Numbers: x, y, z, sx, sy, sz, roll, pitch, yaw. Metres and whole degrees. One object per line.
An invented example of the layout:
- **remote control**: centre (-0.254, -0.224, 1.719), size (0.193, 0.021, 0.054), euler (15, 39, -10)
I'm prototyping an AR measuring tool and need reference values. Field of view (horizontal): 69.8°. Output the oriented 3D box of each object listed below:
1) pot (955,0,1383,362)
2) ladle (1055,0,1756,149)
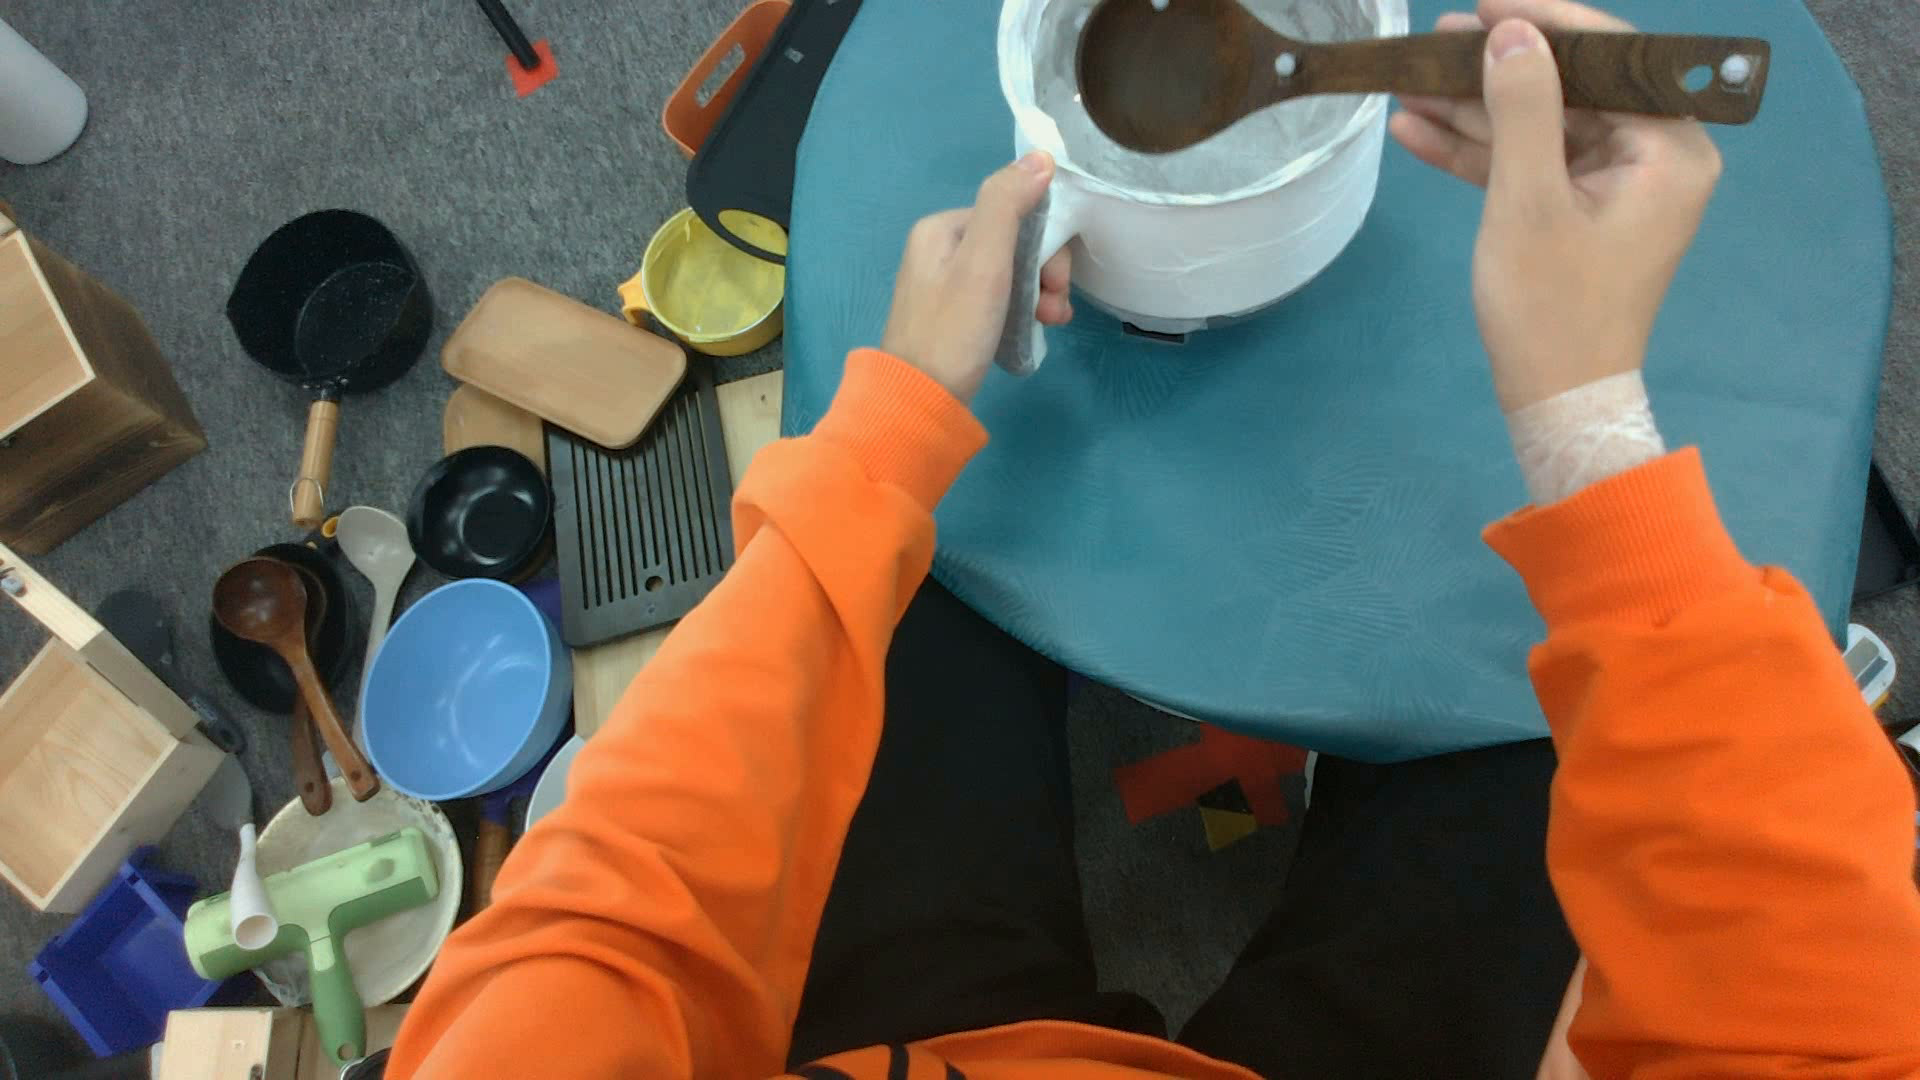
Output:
- **pot**: centre (0.085, -0.189, 0.660), size (0.179, 0.136, 0.234), euler (40, 81, 20)
- **ladle**: centre (0.142, -0.181, 0.515), size (0.071, 0.274, 0.076), euler (-5, 108, -35)
